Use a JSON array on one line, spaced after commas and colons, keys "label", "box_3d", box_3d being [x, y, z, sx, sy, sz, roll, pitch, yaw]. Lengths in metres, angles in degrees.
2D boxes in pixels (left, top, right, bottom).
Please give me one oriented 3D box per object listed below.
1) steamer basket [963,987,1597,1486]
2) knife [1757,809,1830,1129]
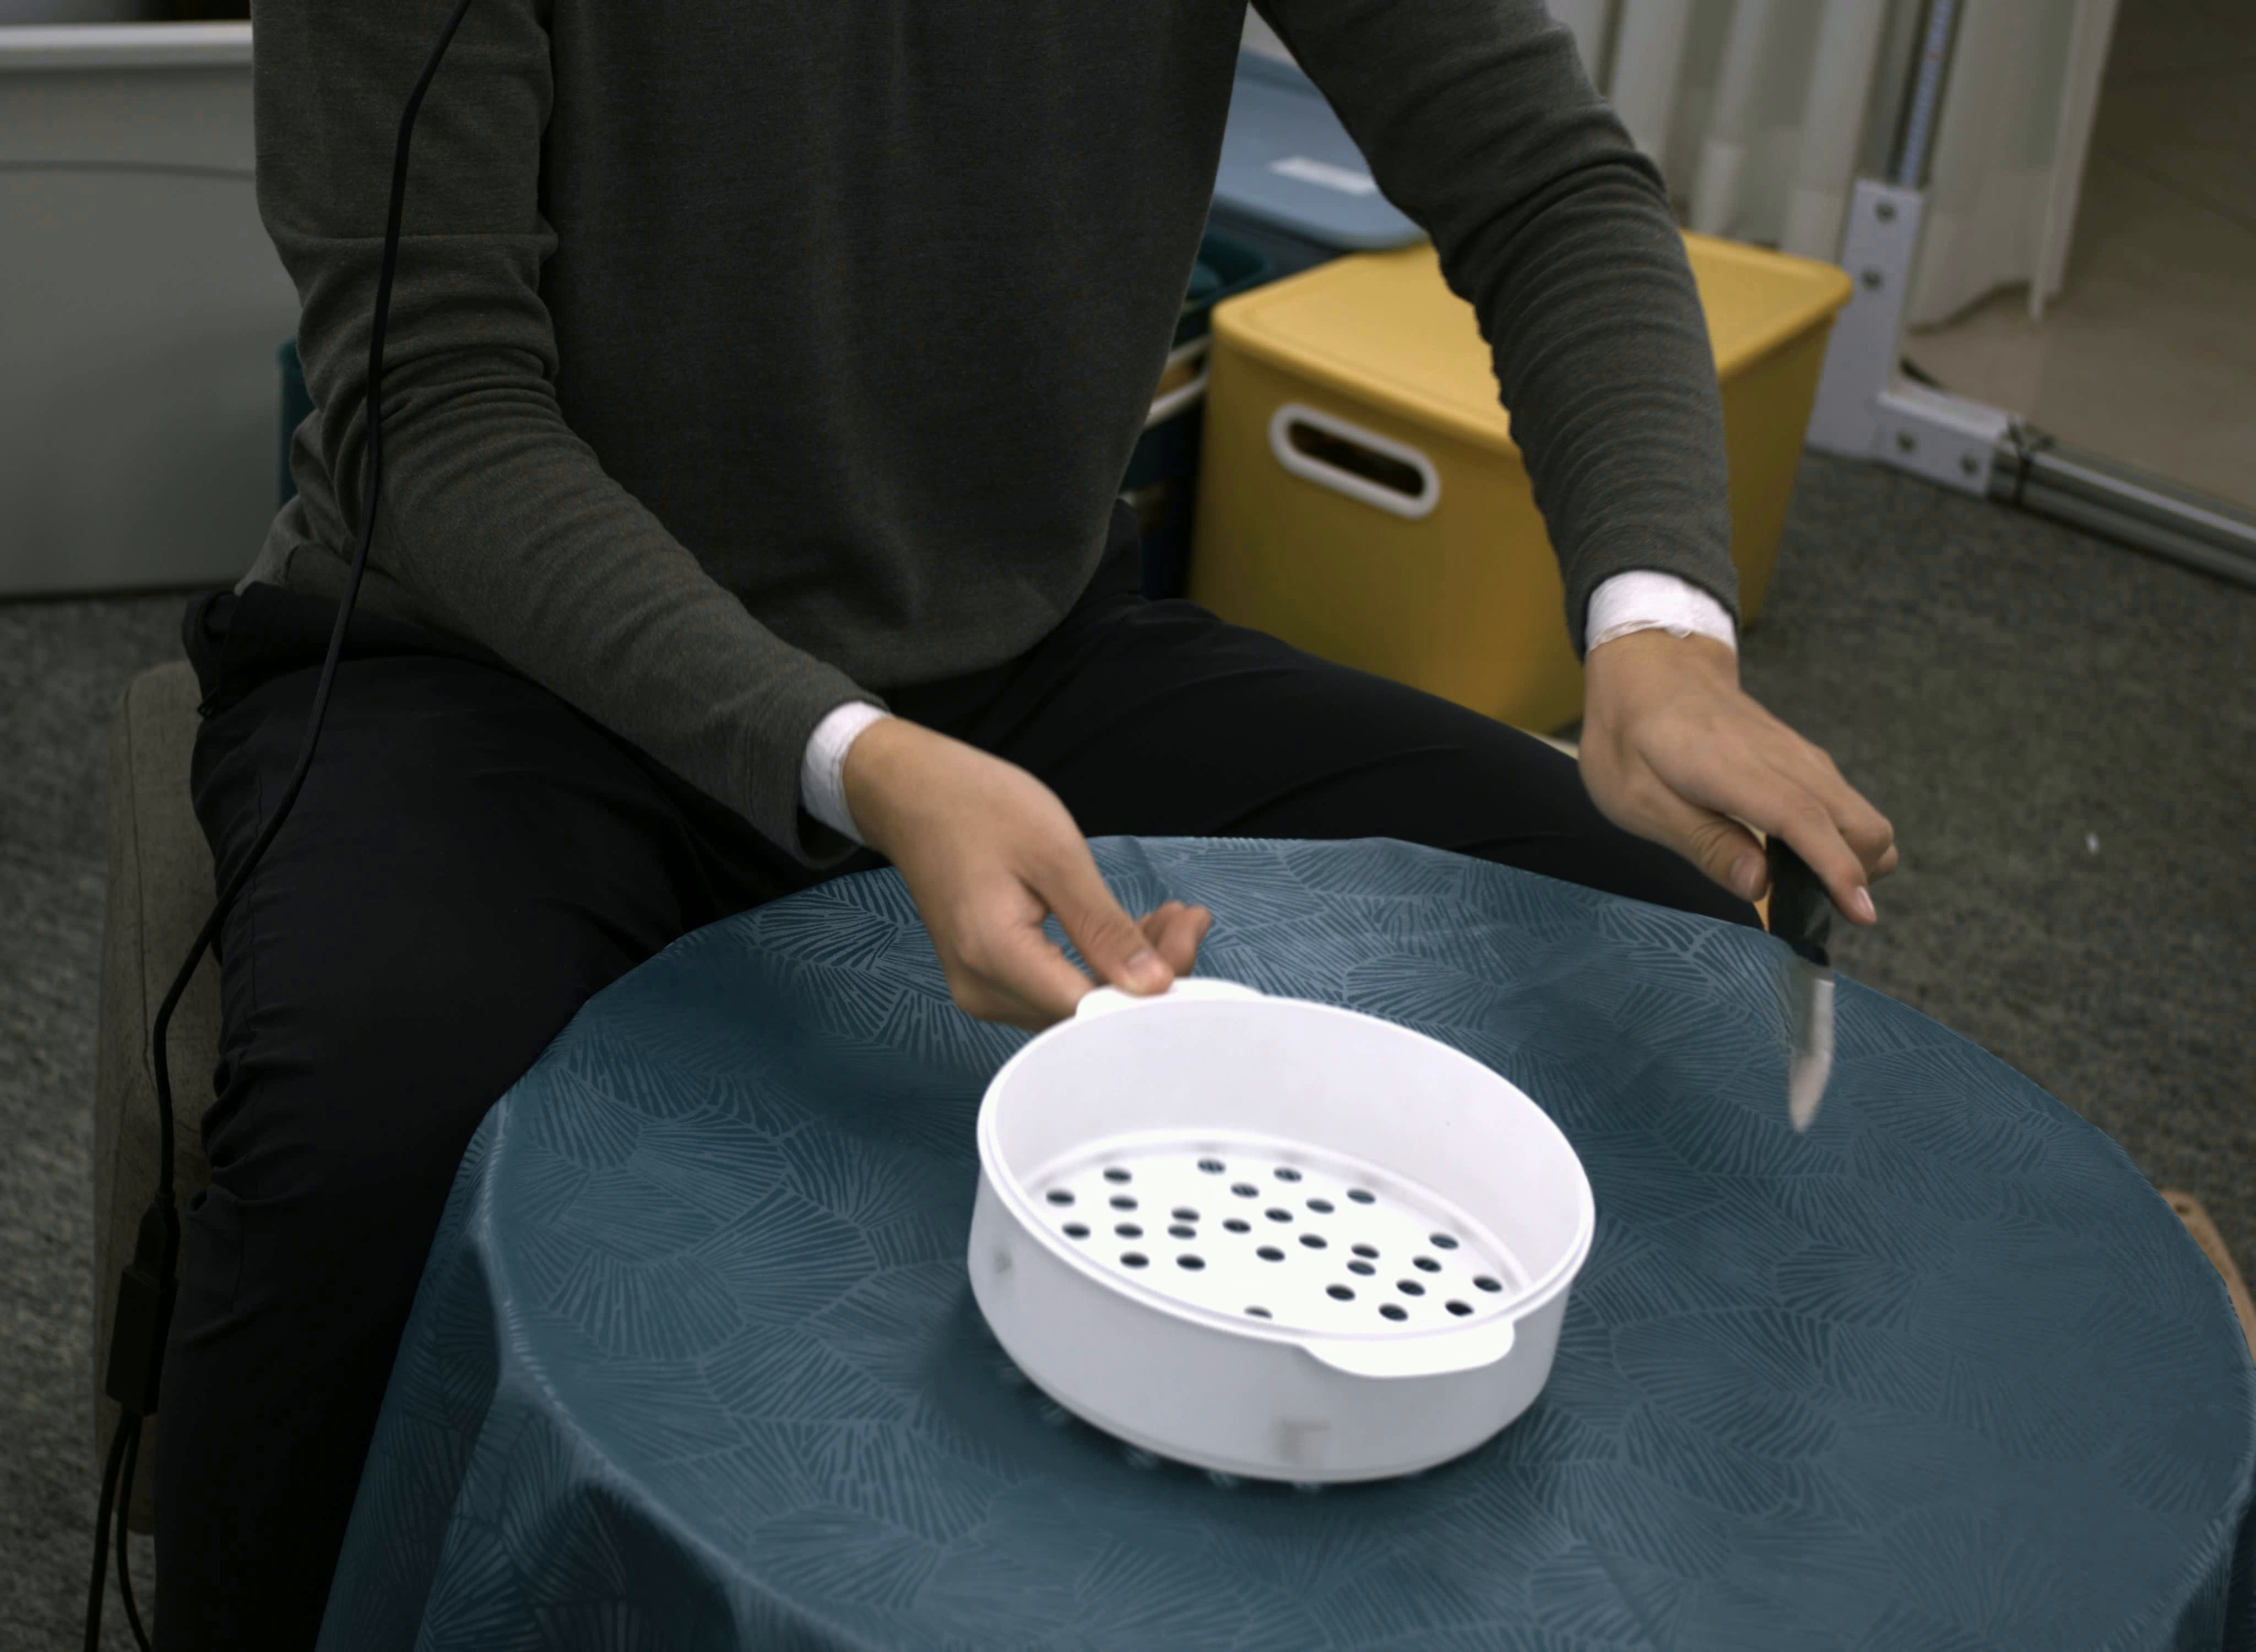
[{"label": "steamer basket", "box_3d": [0.047, 0.134, 1.715, 0.200, 0.069, 0.233, -2, 29, -23]}, {"label": "knife", "box_3d": [0.219, 0.046, 1.751, 0.024, 0.016, 0.239, 10, 24, 3]}]
